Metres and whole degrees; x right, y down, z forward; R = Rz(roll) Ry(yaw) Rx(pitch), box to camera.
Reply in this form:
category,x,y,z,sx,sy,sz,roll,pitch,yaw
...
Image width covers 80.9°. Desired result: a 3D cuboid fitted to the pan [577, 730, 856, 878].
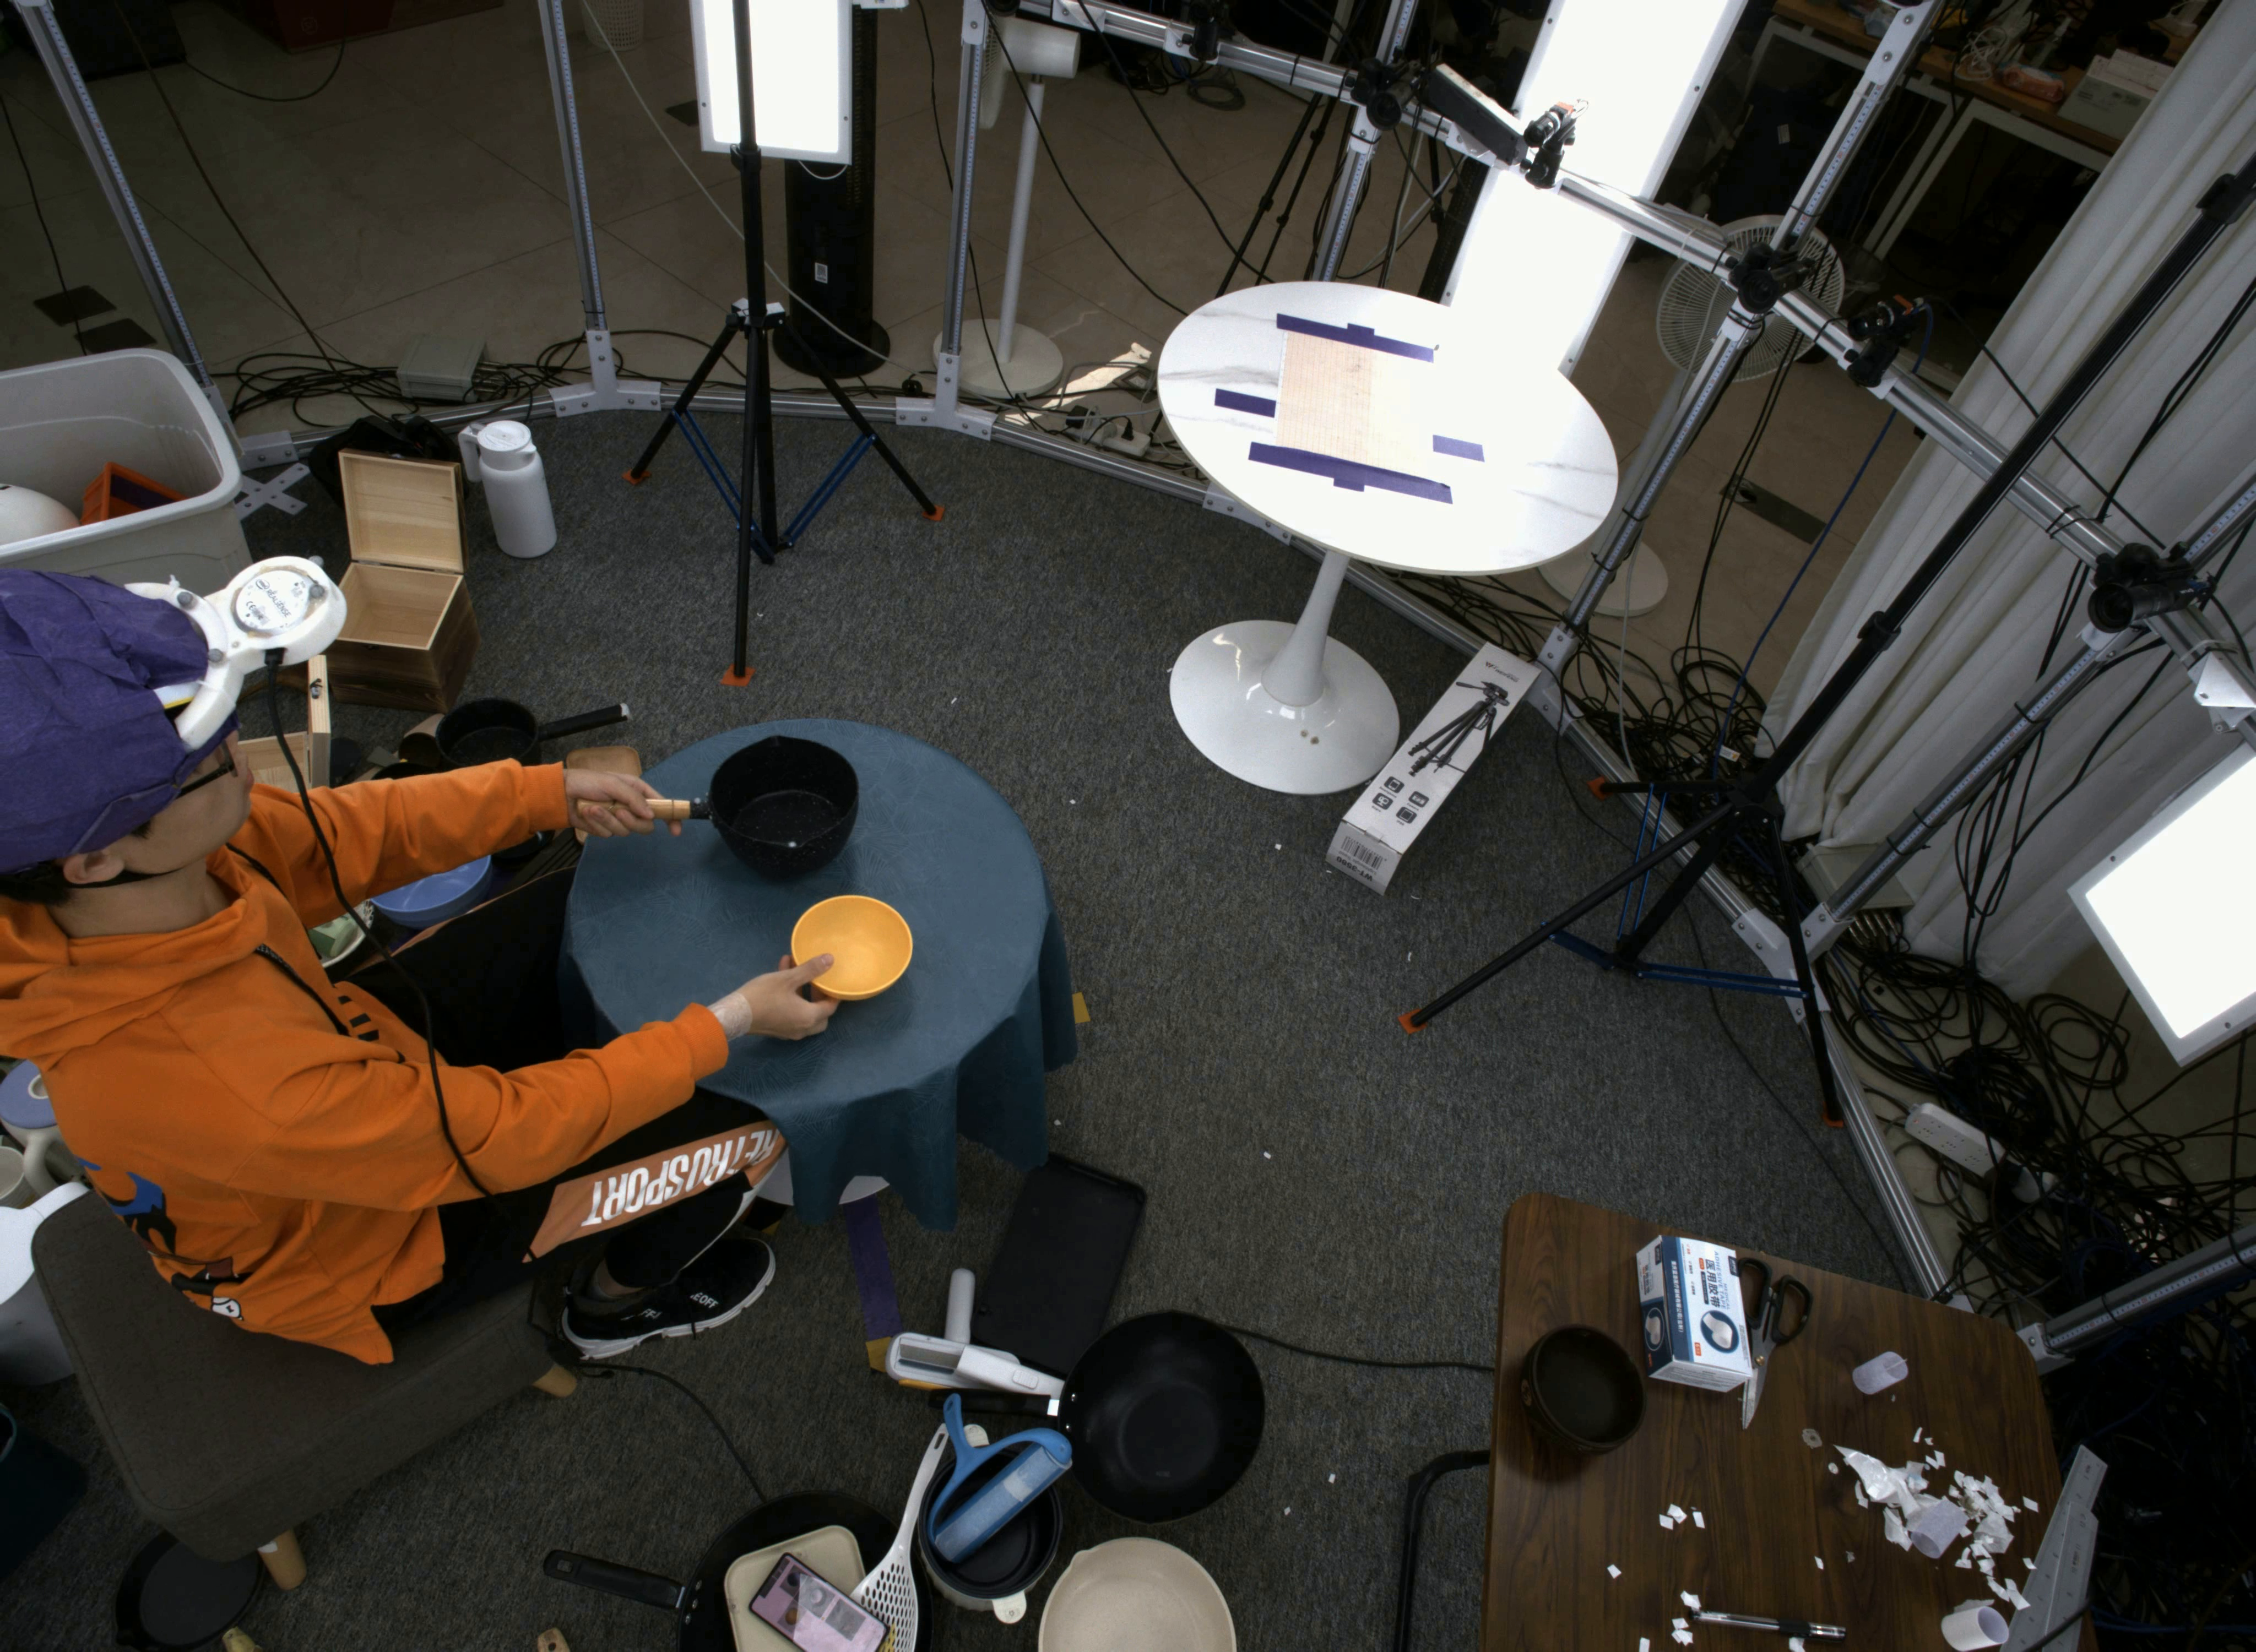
category,x,y,z,sx,sy,sz,roll,pitch,yaw
pan,-0.509,-0.016,1.605,0.344,0.111,0.202,-9,51,-21

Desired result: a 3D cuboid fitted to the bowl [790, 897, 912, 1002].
category,x,y,z,sx,sy,sz,roll,pitch,yaw
bowl,-0.333,0.157,1.563,0.145,0.061,0.142,9,49,-9
